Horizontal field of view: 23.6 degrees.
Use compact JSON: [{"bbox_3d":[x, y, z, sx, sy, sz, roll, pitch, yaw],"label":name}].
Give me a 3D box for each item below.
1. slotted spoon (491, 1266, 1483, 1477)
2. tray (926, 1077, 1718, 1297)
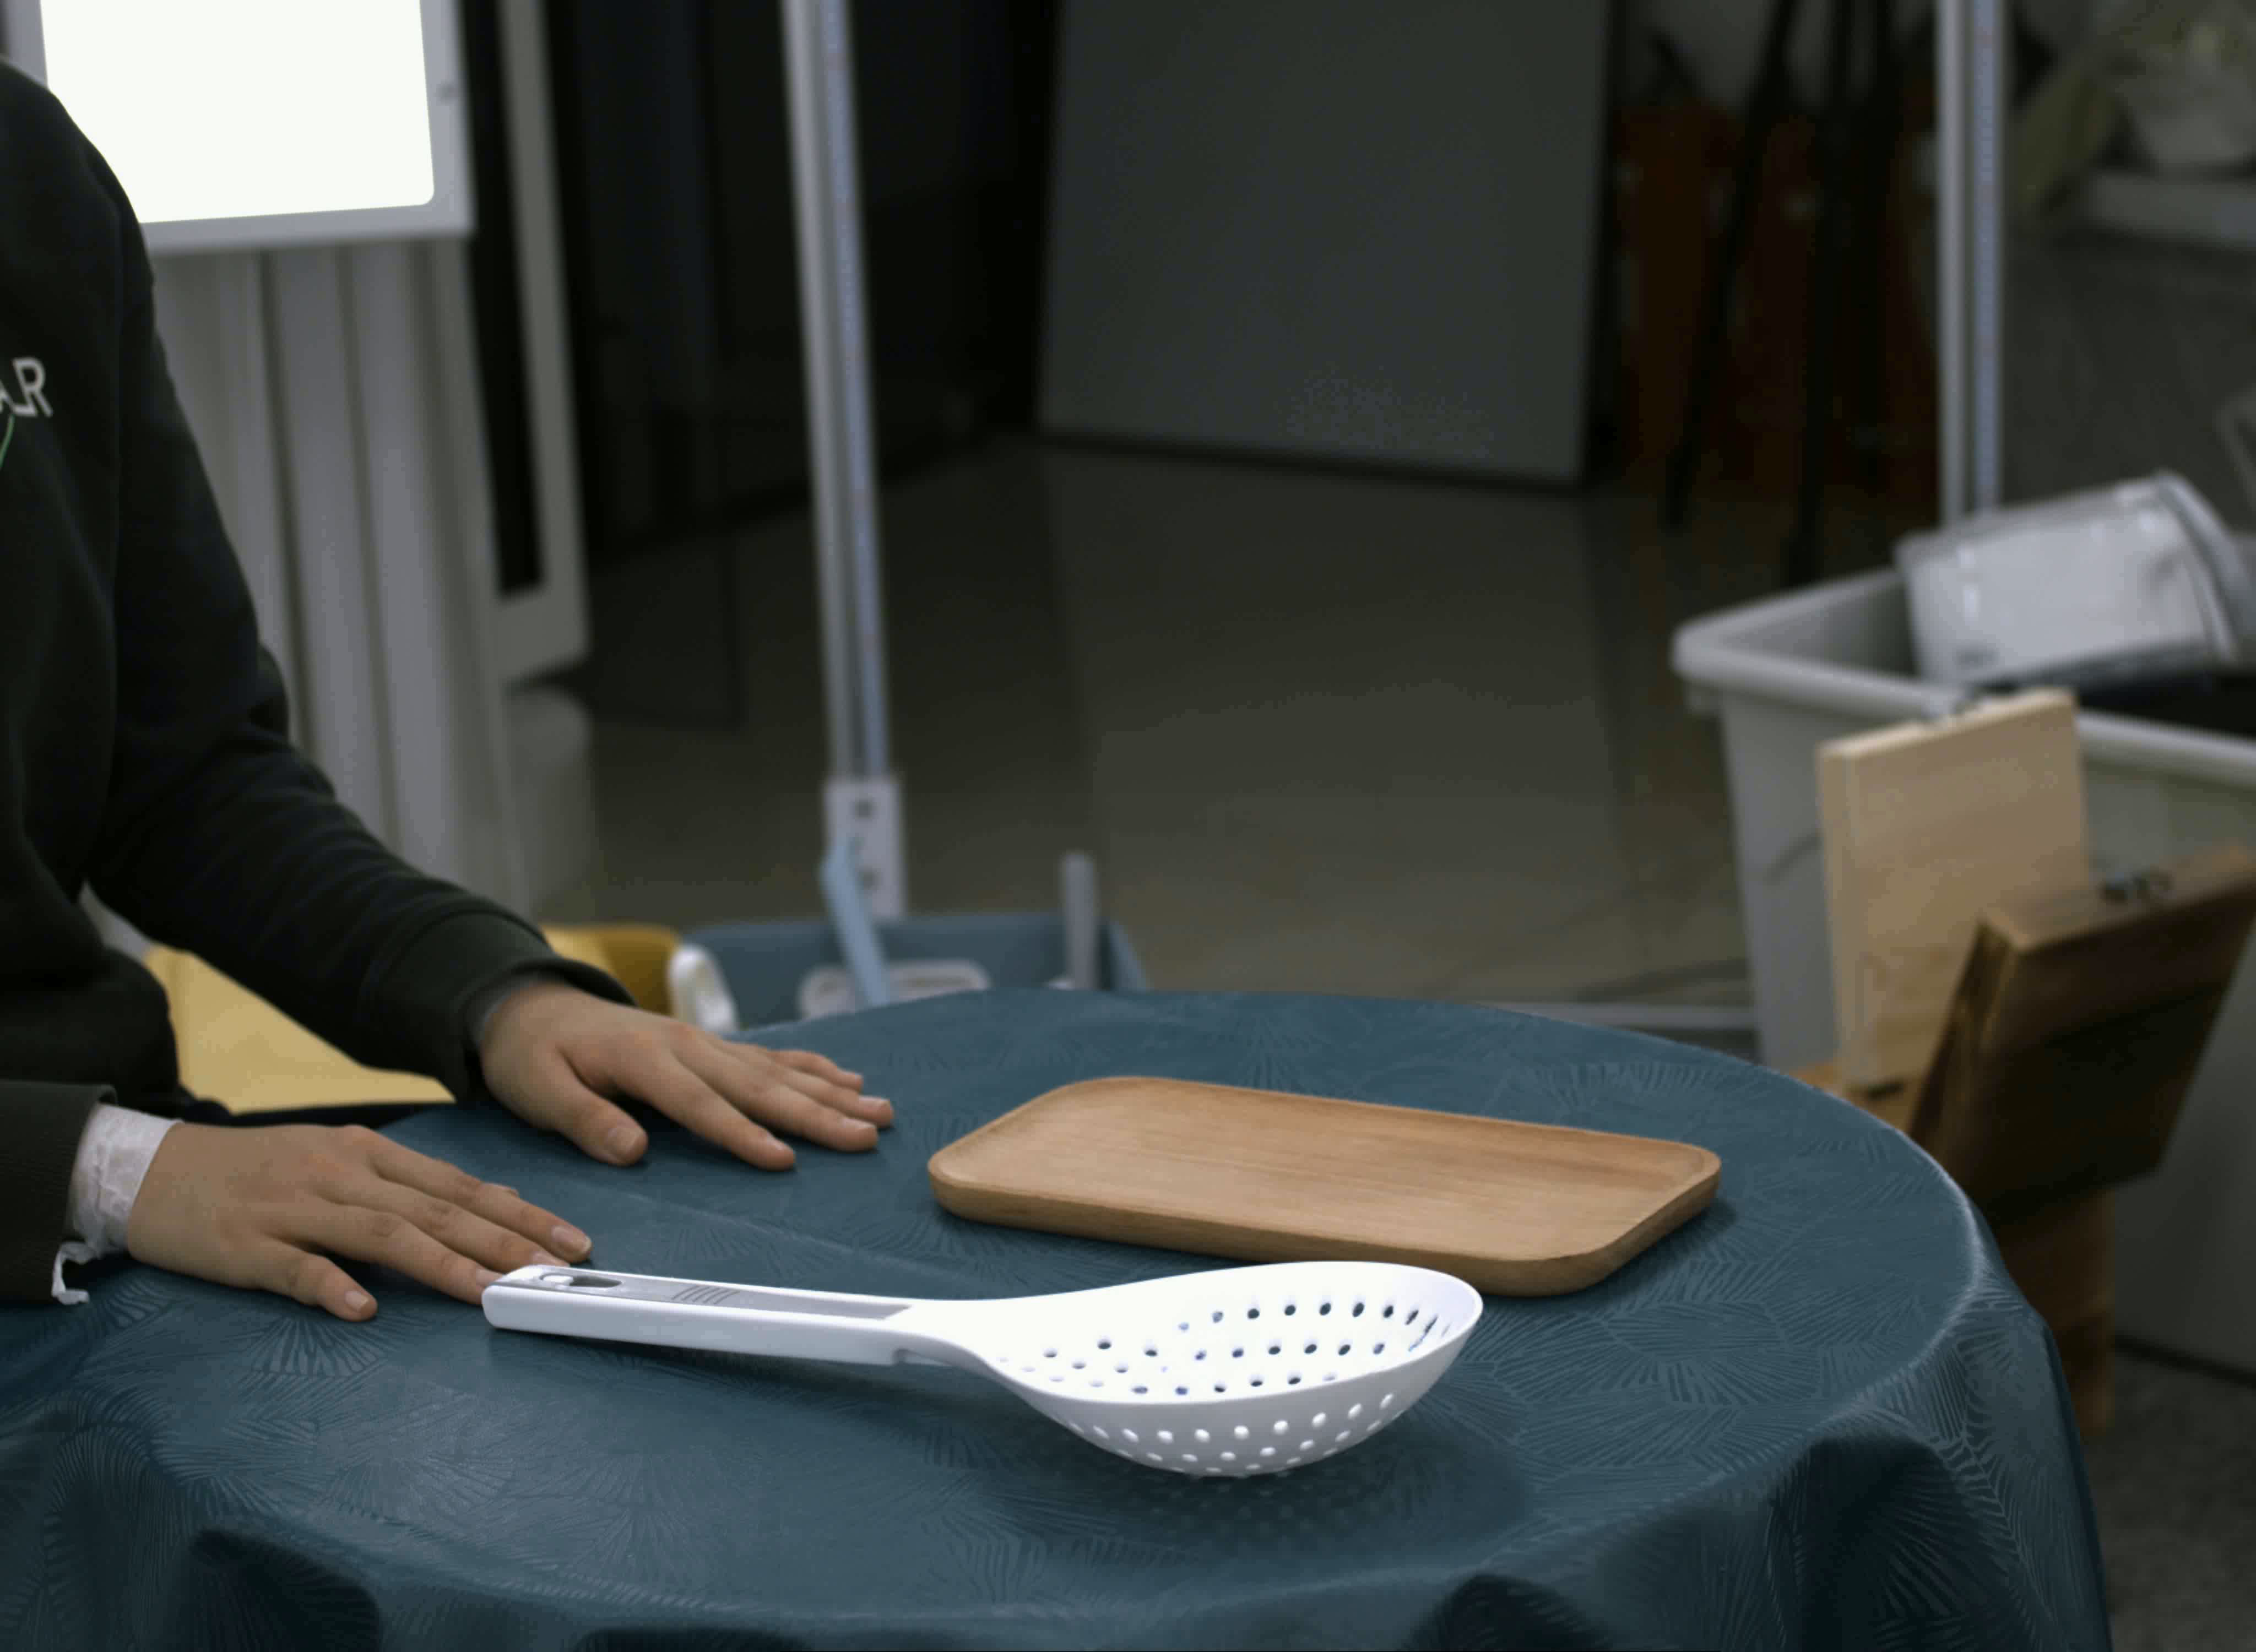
[{"bbox_3d":[-0.052,0.149,1.580,0.352,0.046,0.133,5,14,36],"label":"slotted spoon"},{"bbox_3d":[0.061,0.115,1.742,0.252,0.023,0.128,4,14,33],"label":"tray"}]
